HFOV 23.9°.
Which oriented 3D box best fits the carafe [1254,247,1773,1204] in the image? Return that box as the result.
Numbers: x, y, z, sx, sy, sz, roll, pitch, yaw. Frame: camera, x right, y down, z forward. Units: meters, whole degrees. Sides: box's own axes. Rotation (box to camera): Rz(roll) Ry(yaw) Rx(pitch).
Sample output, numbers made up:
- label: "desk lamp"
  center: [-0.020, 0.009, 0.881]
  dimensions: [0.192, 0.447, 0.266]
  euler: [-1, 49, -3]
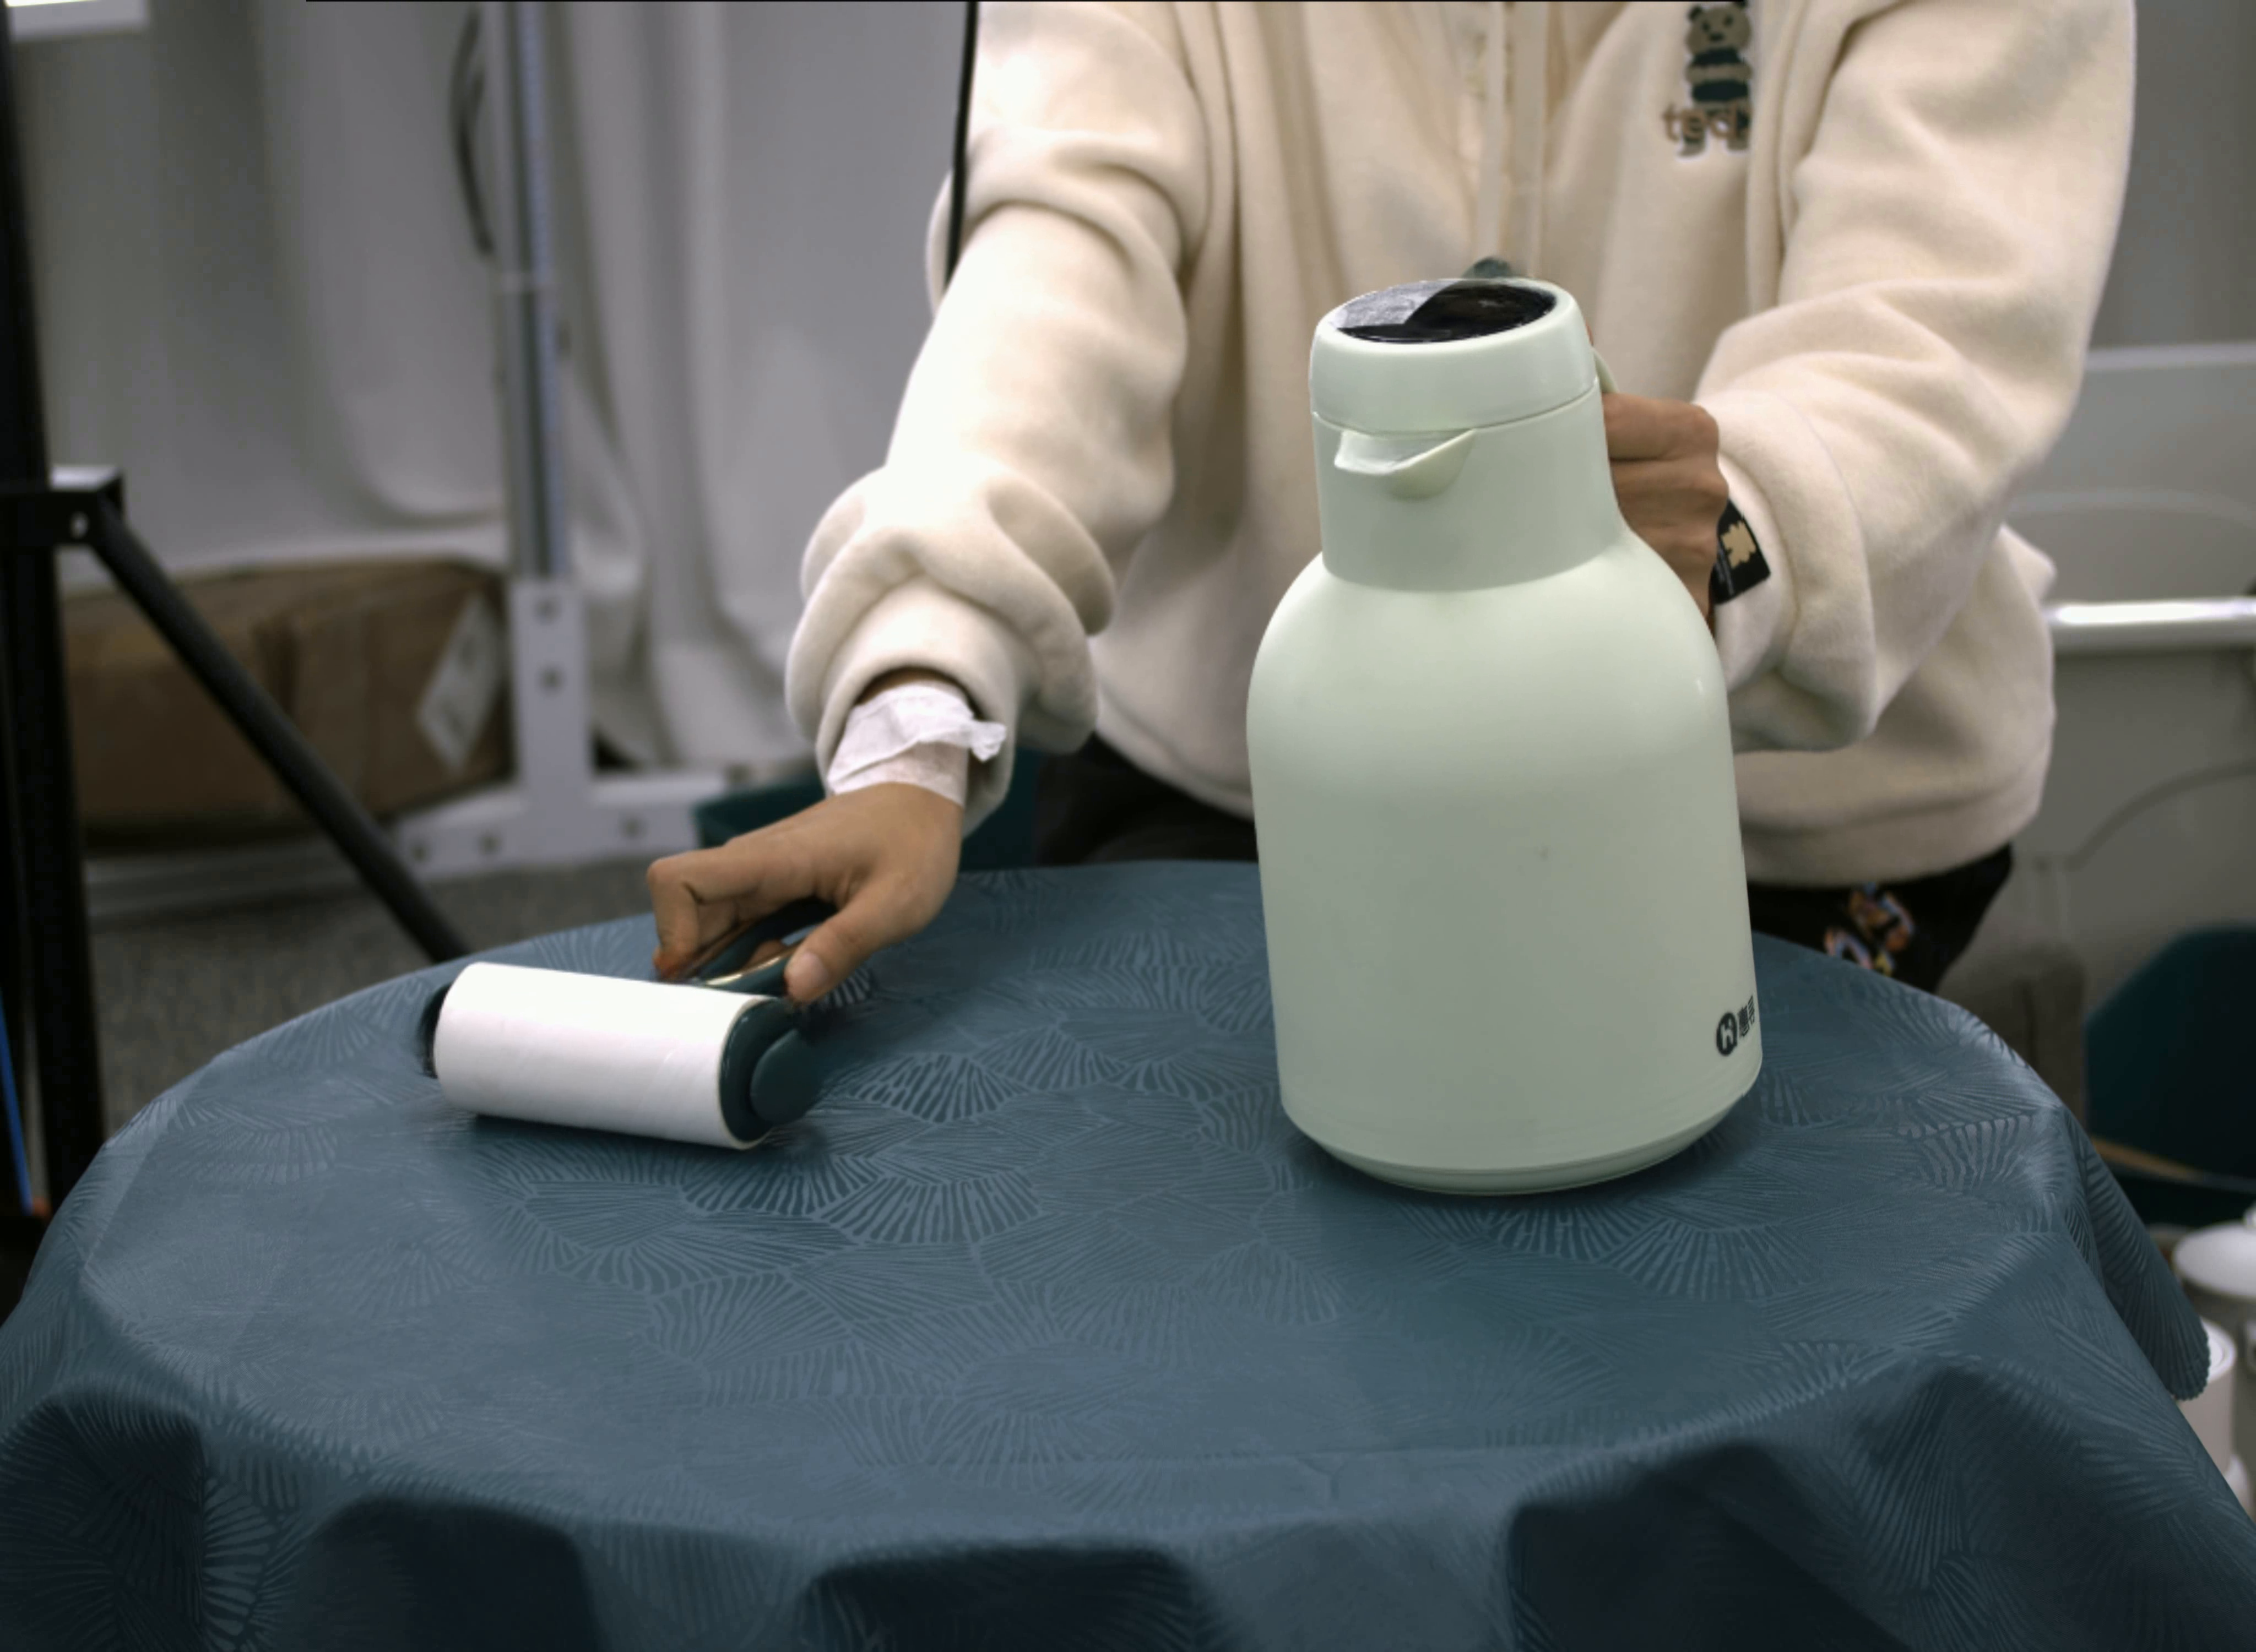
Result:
- label: "carafe"
  center: [0.113, -0.034, 1.559]
  dimensions: [0.146, 0.256, 0.184]
  euler: [1, 17, 26]

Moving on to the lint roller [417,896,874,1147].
- label: "lint roller"
  center: [-0.129, 0.042, 1.685]
  dimensions: [0.136, 0.048, 0.178]
  euler: [6, 27, 26]
